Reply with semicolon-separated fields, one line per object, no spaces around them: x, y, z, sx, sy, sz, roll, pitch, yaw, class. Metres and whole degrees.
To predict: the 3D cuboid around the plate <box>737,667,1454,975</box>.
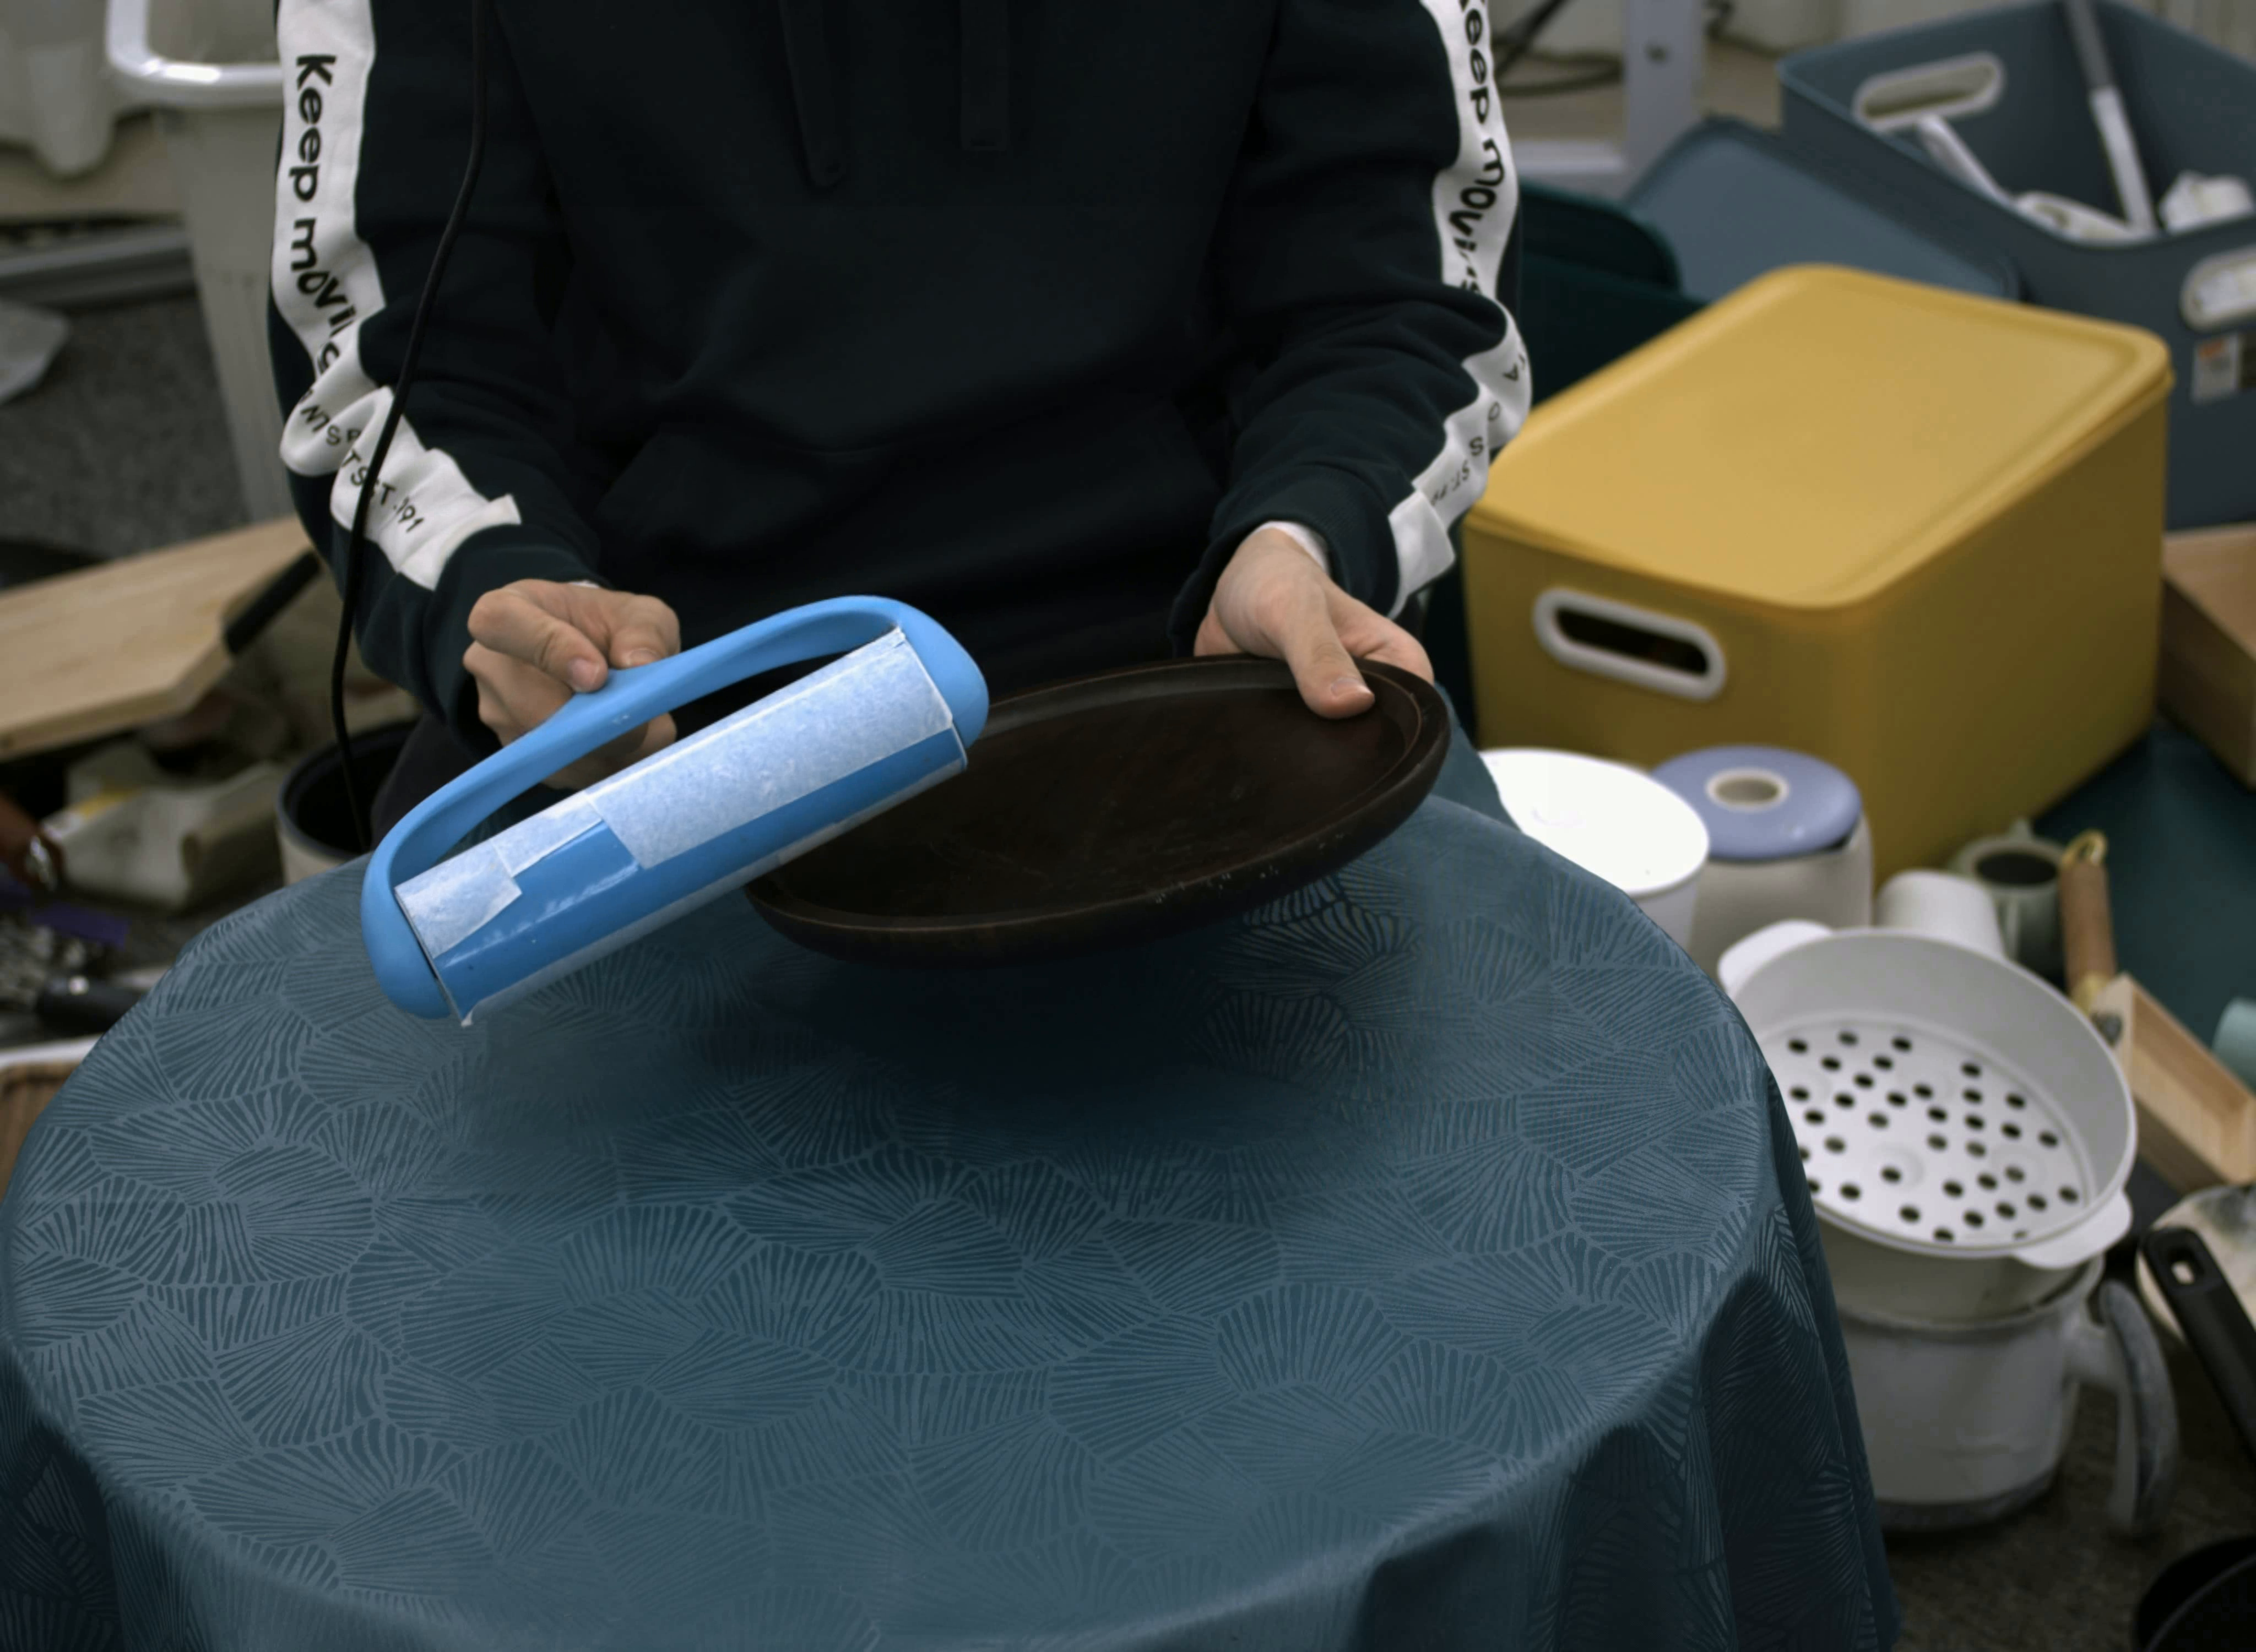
-0.011;-0.004;1.943;0.253;0.029;0.258;-10;20;4;plate

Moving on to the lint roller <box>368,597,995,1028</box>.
-0.169;-0.020;1.949;0.229;0.067;0.181;-30;27;-10;lint roller
